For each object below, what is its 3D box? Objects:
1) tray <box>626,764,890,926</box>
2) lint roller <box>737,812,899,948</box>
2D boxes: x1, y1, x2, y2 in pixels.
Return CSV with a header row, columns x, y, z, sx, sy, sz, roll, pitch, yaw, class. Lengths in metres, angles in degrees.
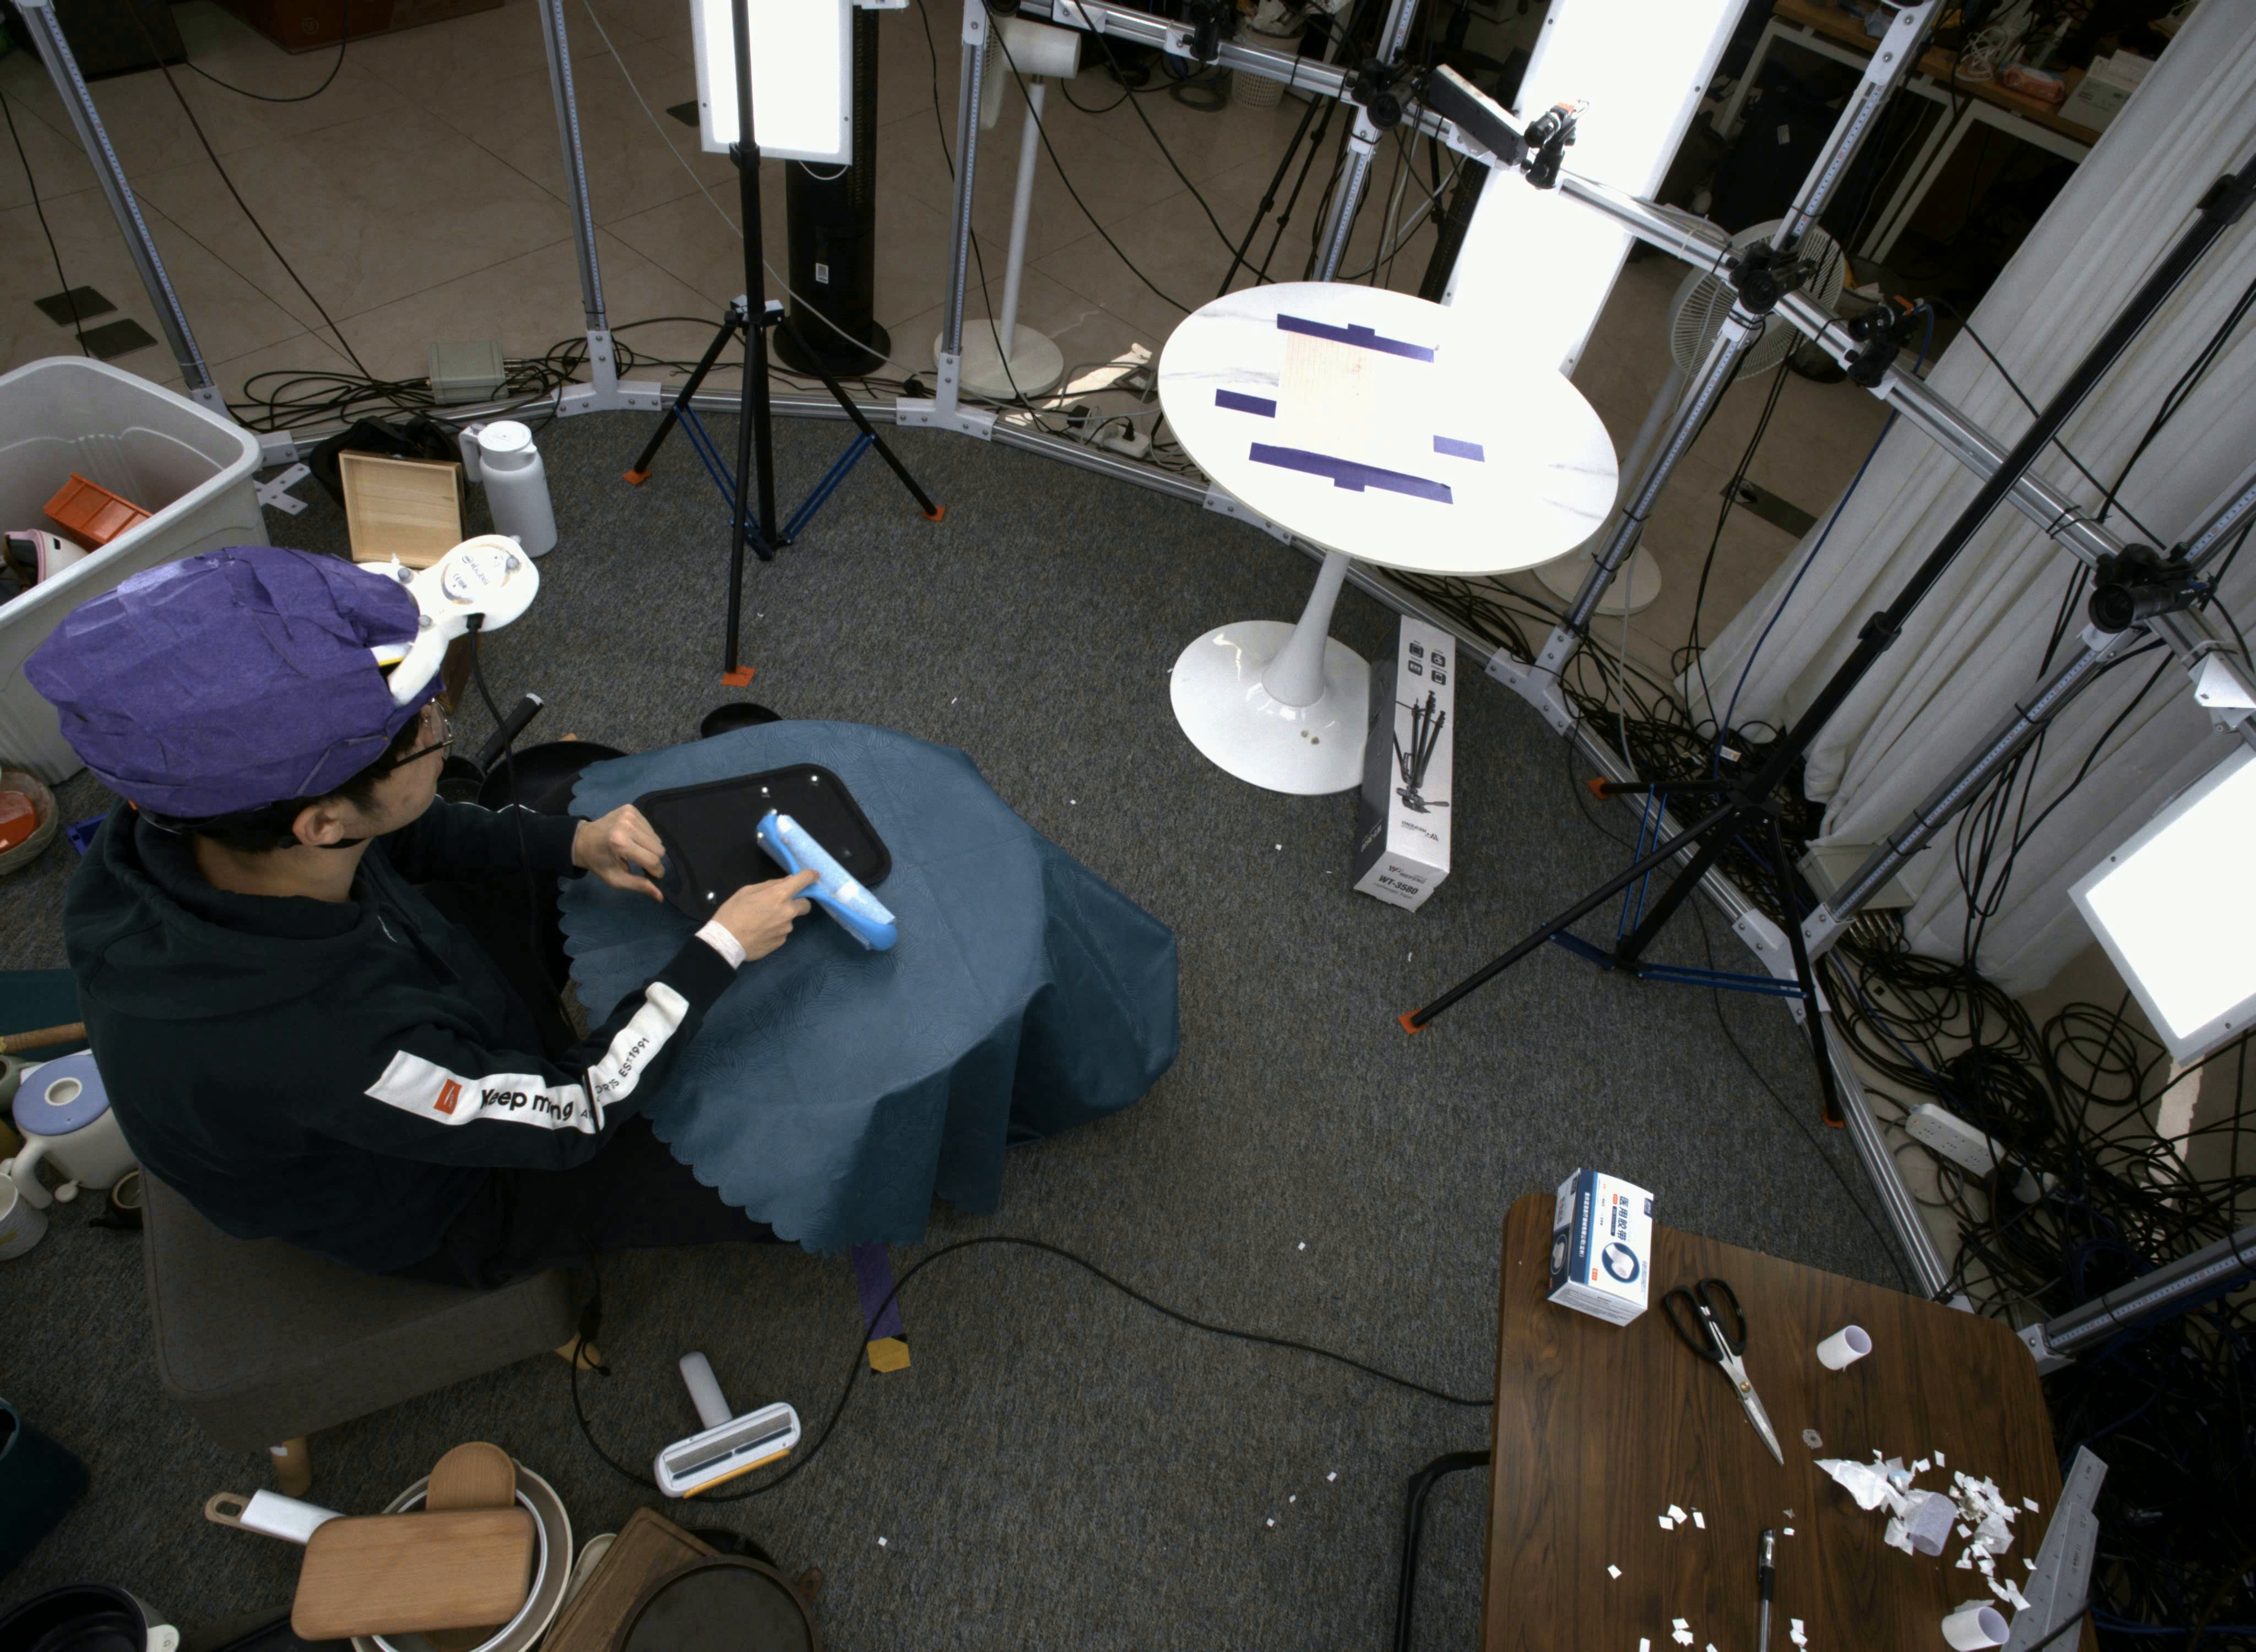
x,y,z,sx,sy,sz,roll,pitch,yaw,class
-0.468,0.017,1.634,0.329,0.010,0.207,-16,64,-46,tray
-0.399,0.087,1.574,0.228,0.068,0.180,43,34,1,lint roller
